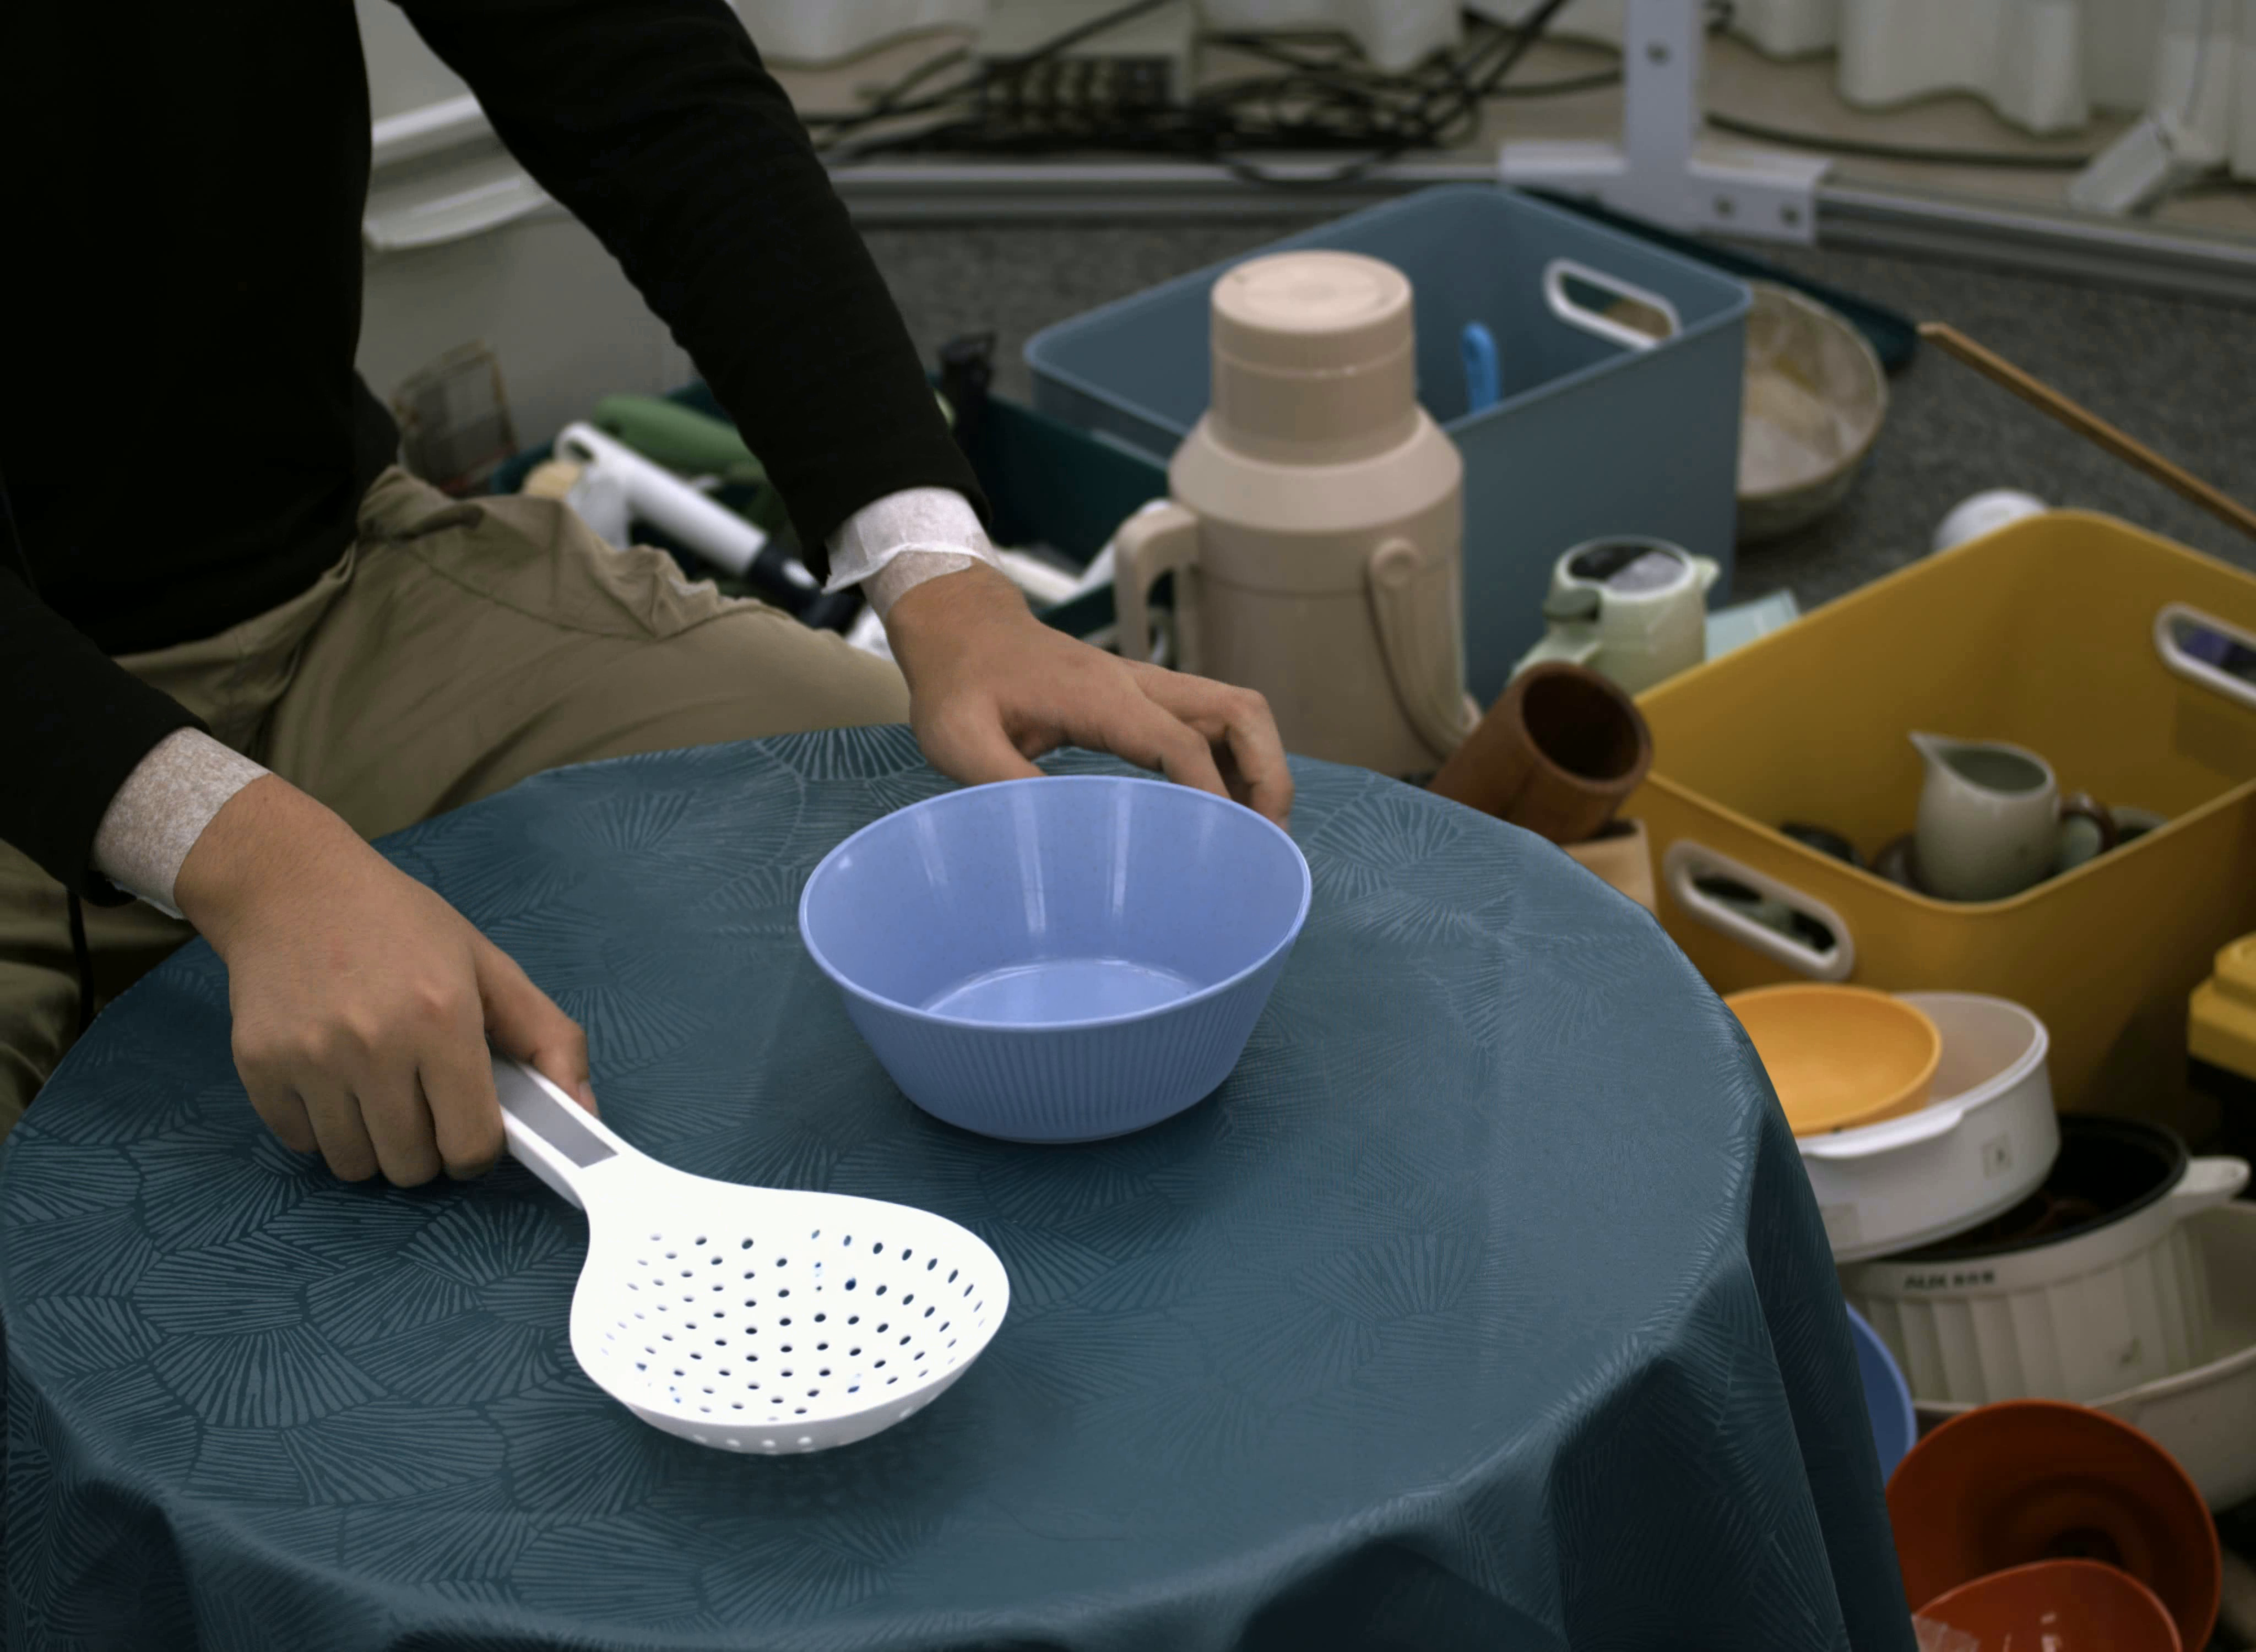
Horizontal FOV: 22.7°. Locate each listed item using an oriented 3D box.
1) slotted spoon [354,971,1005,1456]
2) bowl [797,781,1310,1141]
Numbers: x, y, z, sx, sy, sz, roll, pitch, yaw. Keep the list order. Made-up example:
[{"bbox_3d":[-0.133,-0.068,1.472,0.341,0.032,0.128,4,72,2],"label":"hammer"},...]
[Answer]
[{"bbox_3d":[-0.164,0.118,1.819,0.137,0.045,0.351,-20,35,-28],"label":"slotted spoon"},{"bbox_3d":[-0.024,0.052,1.924,0.175,0.069,0.178,-3,26,2],"label":"bowl"}]
